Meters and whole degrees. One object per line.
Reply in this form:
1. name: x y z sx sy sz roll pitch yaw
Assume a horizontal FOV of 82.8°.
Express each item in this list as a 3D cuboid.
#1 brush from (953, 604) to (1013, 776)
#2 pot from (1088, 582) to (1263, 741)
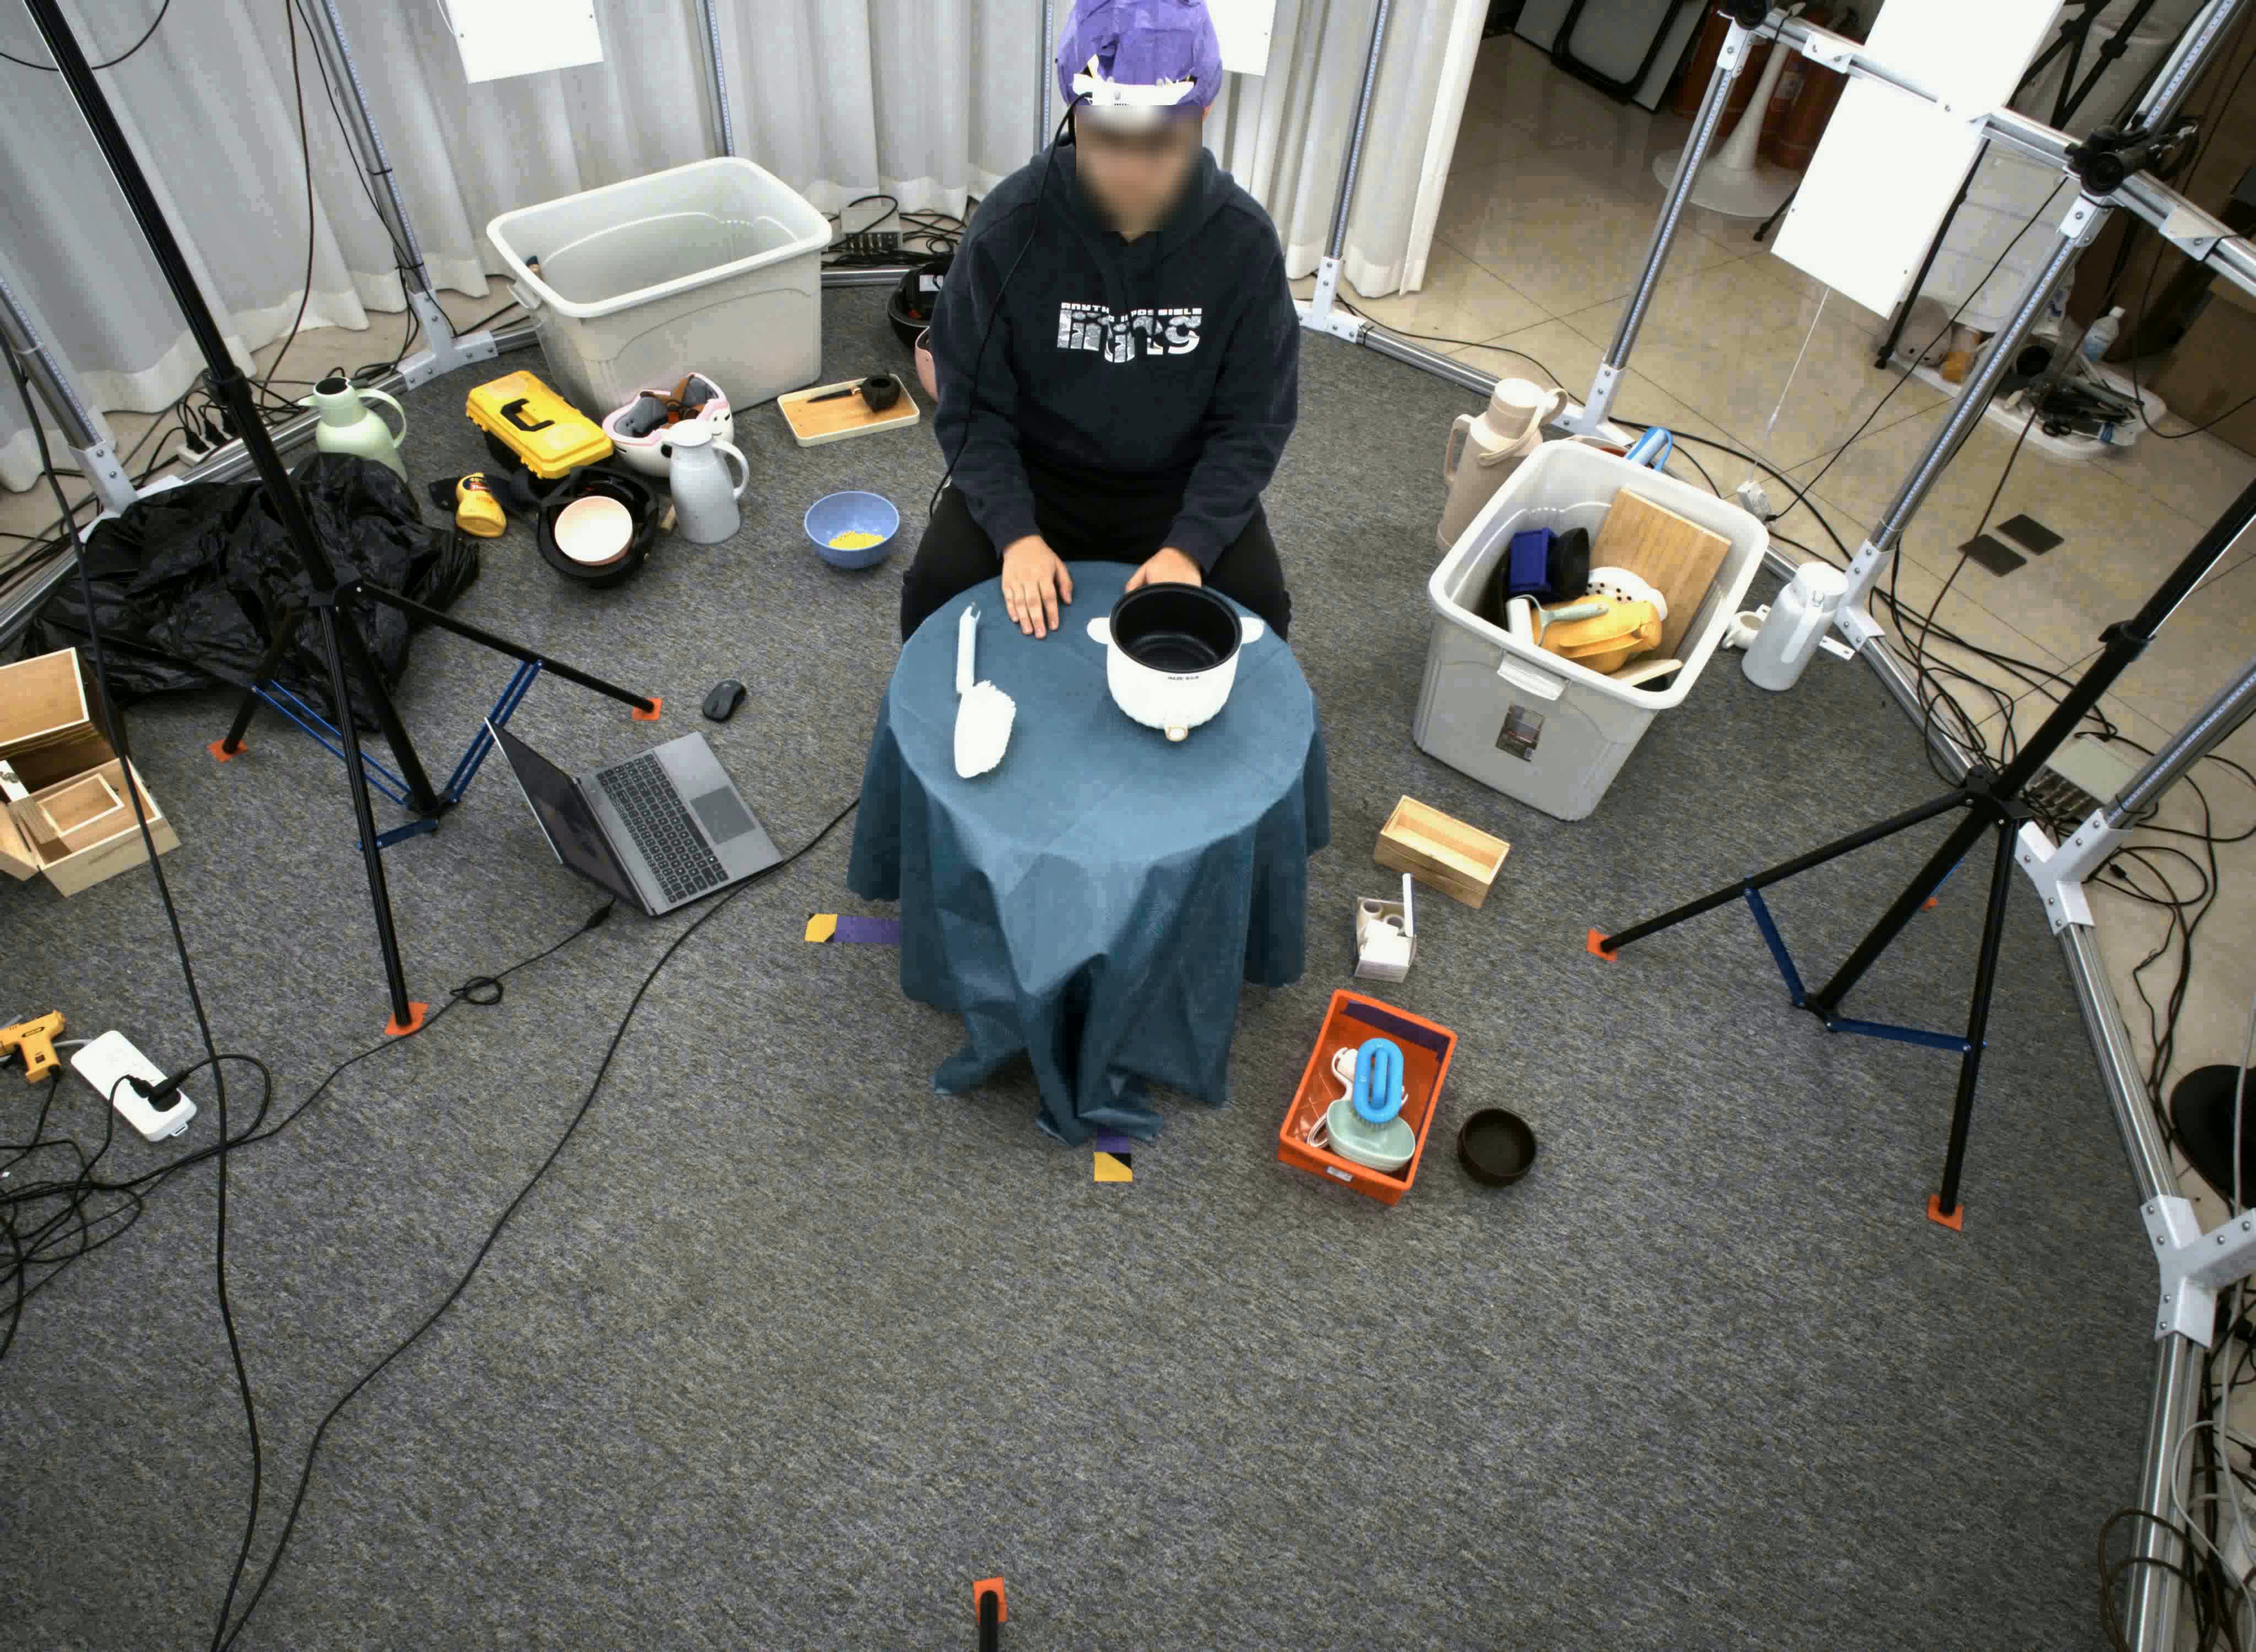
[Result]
1. brush: -0.202 -0.210 1.778 0.084 0.081 0.333 -4 51 1
2. pot: 0.062 -0.225 1.776 0.240 0.139 0.195 -2 46 -5
